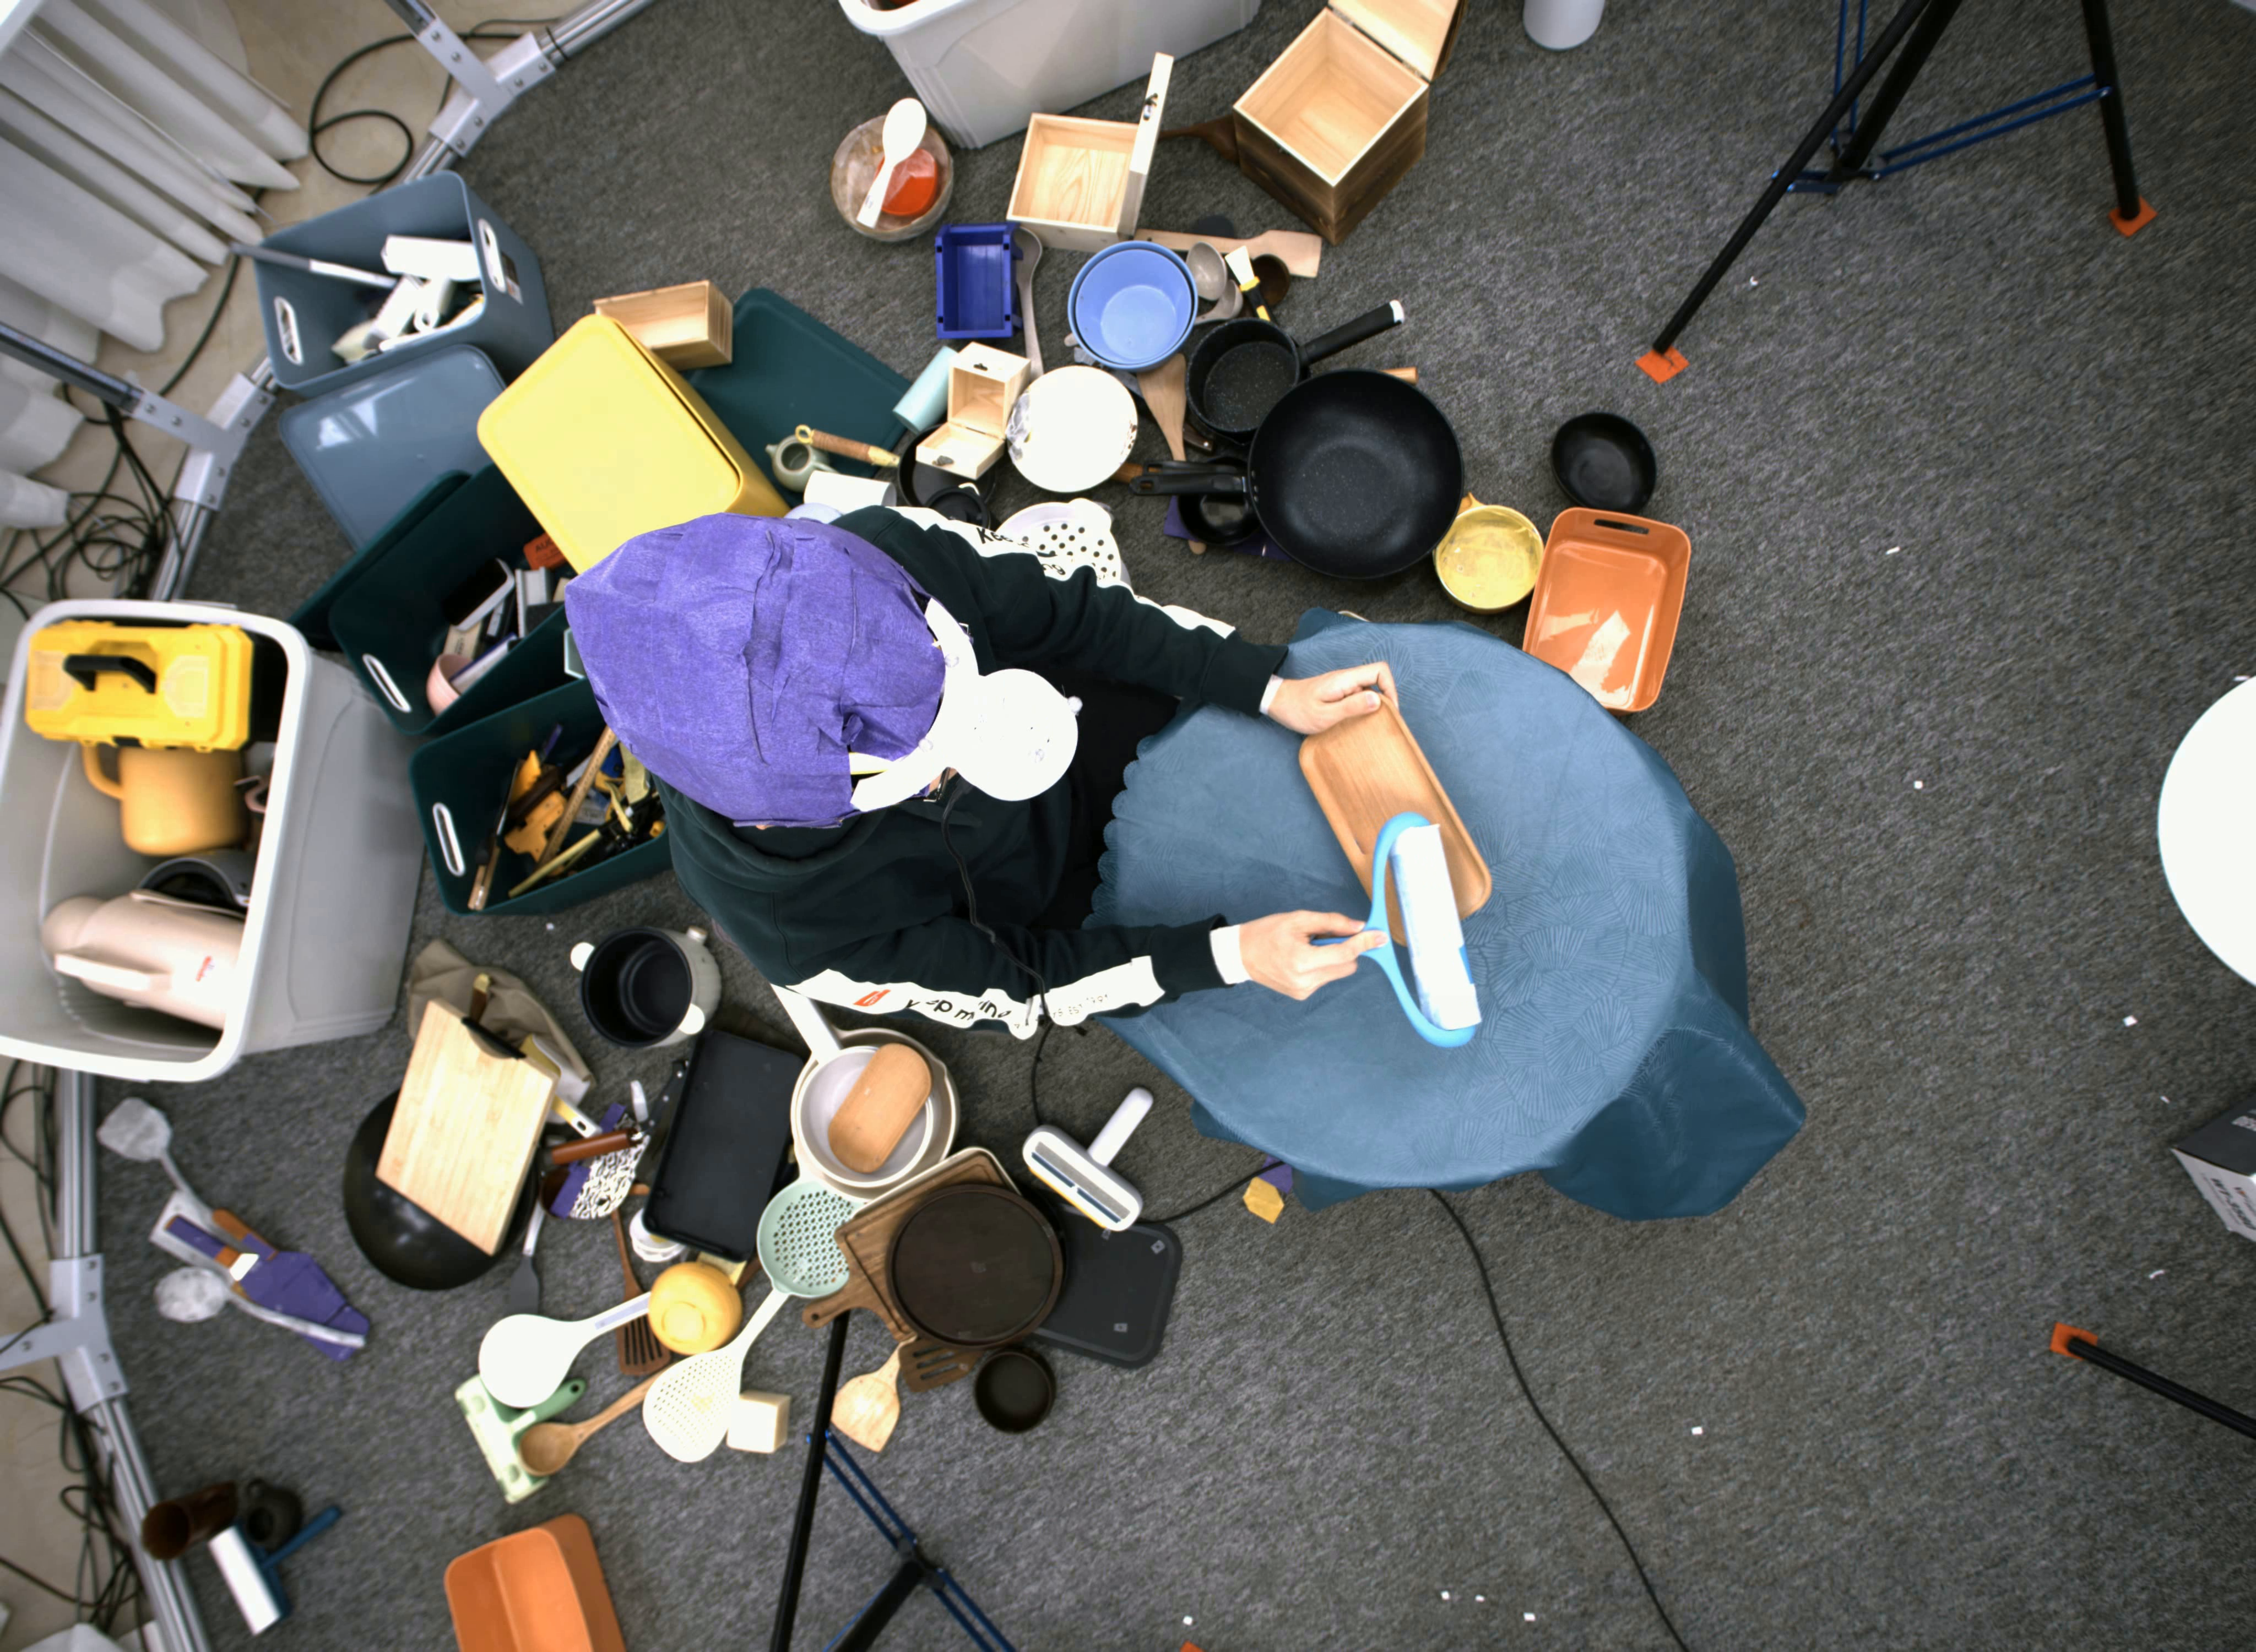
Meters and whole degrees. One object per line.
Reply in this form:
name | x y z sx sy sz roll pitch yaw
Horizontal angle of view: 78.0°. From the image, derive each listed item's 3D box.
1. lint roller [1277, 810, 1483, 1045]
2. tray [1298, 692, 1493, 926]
lint roller | 0.233 0.111 1.324 0.181 0.068 0.228 -15 89 4
tray | 0.267 -0.008 1.388 0.133 0.022 0.248 -38 70 38
